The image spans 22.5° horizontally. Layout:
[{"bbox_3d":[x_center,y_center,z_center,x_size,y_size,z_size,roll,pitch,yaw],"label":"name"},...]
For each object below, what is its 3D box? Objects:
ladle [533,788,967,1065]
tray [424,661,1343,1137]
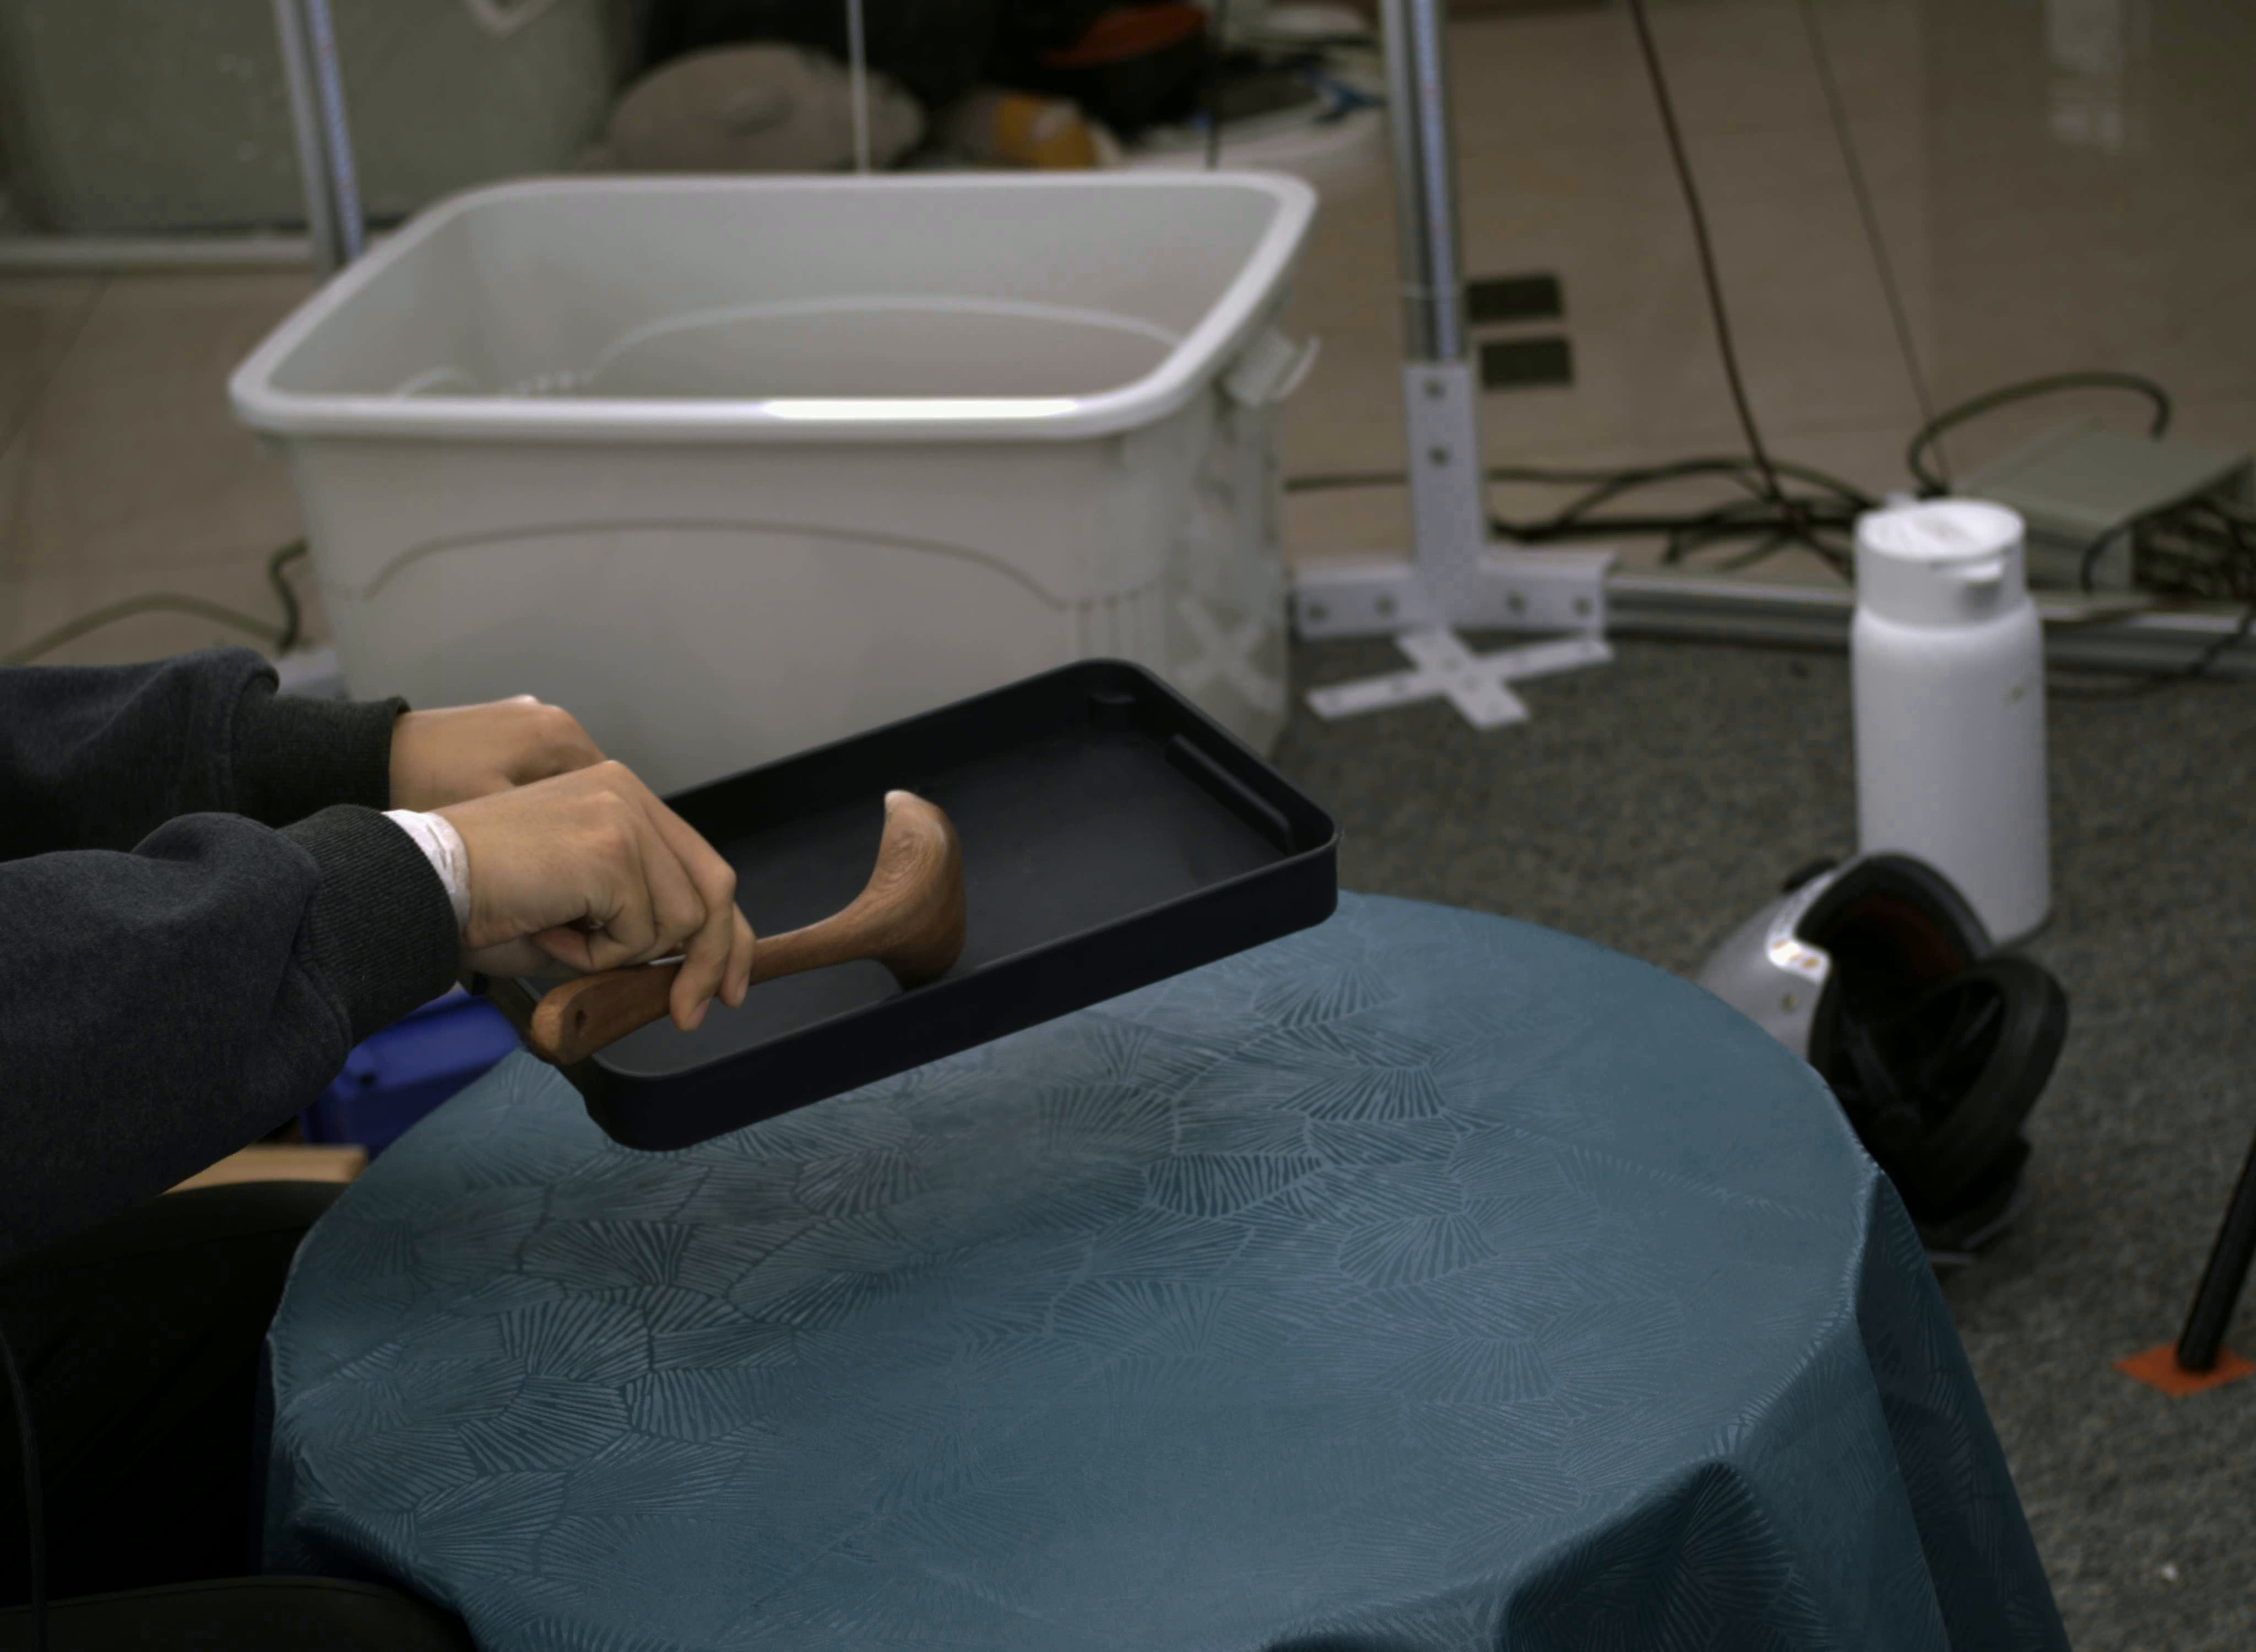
[{"bbox_3d":[-0.140,0.044,2.037,0.065,0.077,0.258,8,17,38],"label":"ladle"},{"bbox_3d":[-0.092,0.023,2.155,0.316,0.038,0.182,-17,34,-26],"label":"tray"}]
